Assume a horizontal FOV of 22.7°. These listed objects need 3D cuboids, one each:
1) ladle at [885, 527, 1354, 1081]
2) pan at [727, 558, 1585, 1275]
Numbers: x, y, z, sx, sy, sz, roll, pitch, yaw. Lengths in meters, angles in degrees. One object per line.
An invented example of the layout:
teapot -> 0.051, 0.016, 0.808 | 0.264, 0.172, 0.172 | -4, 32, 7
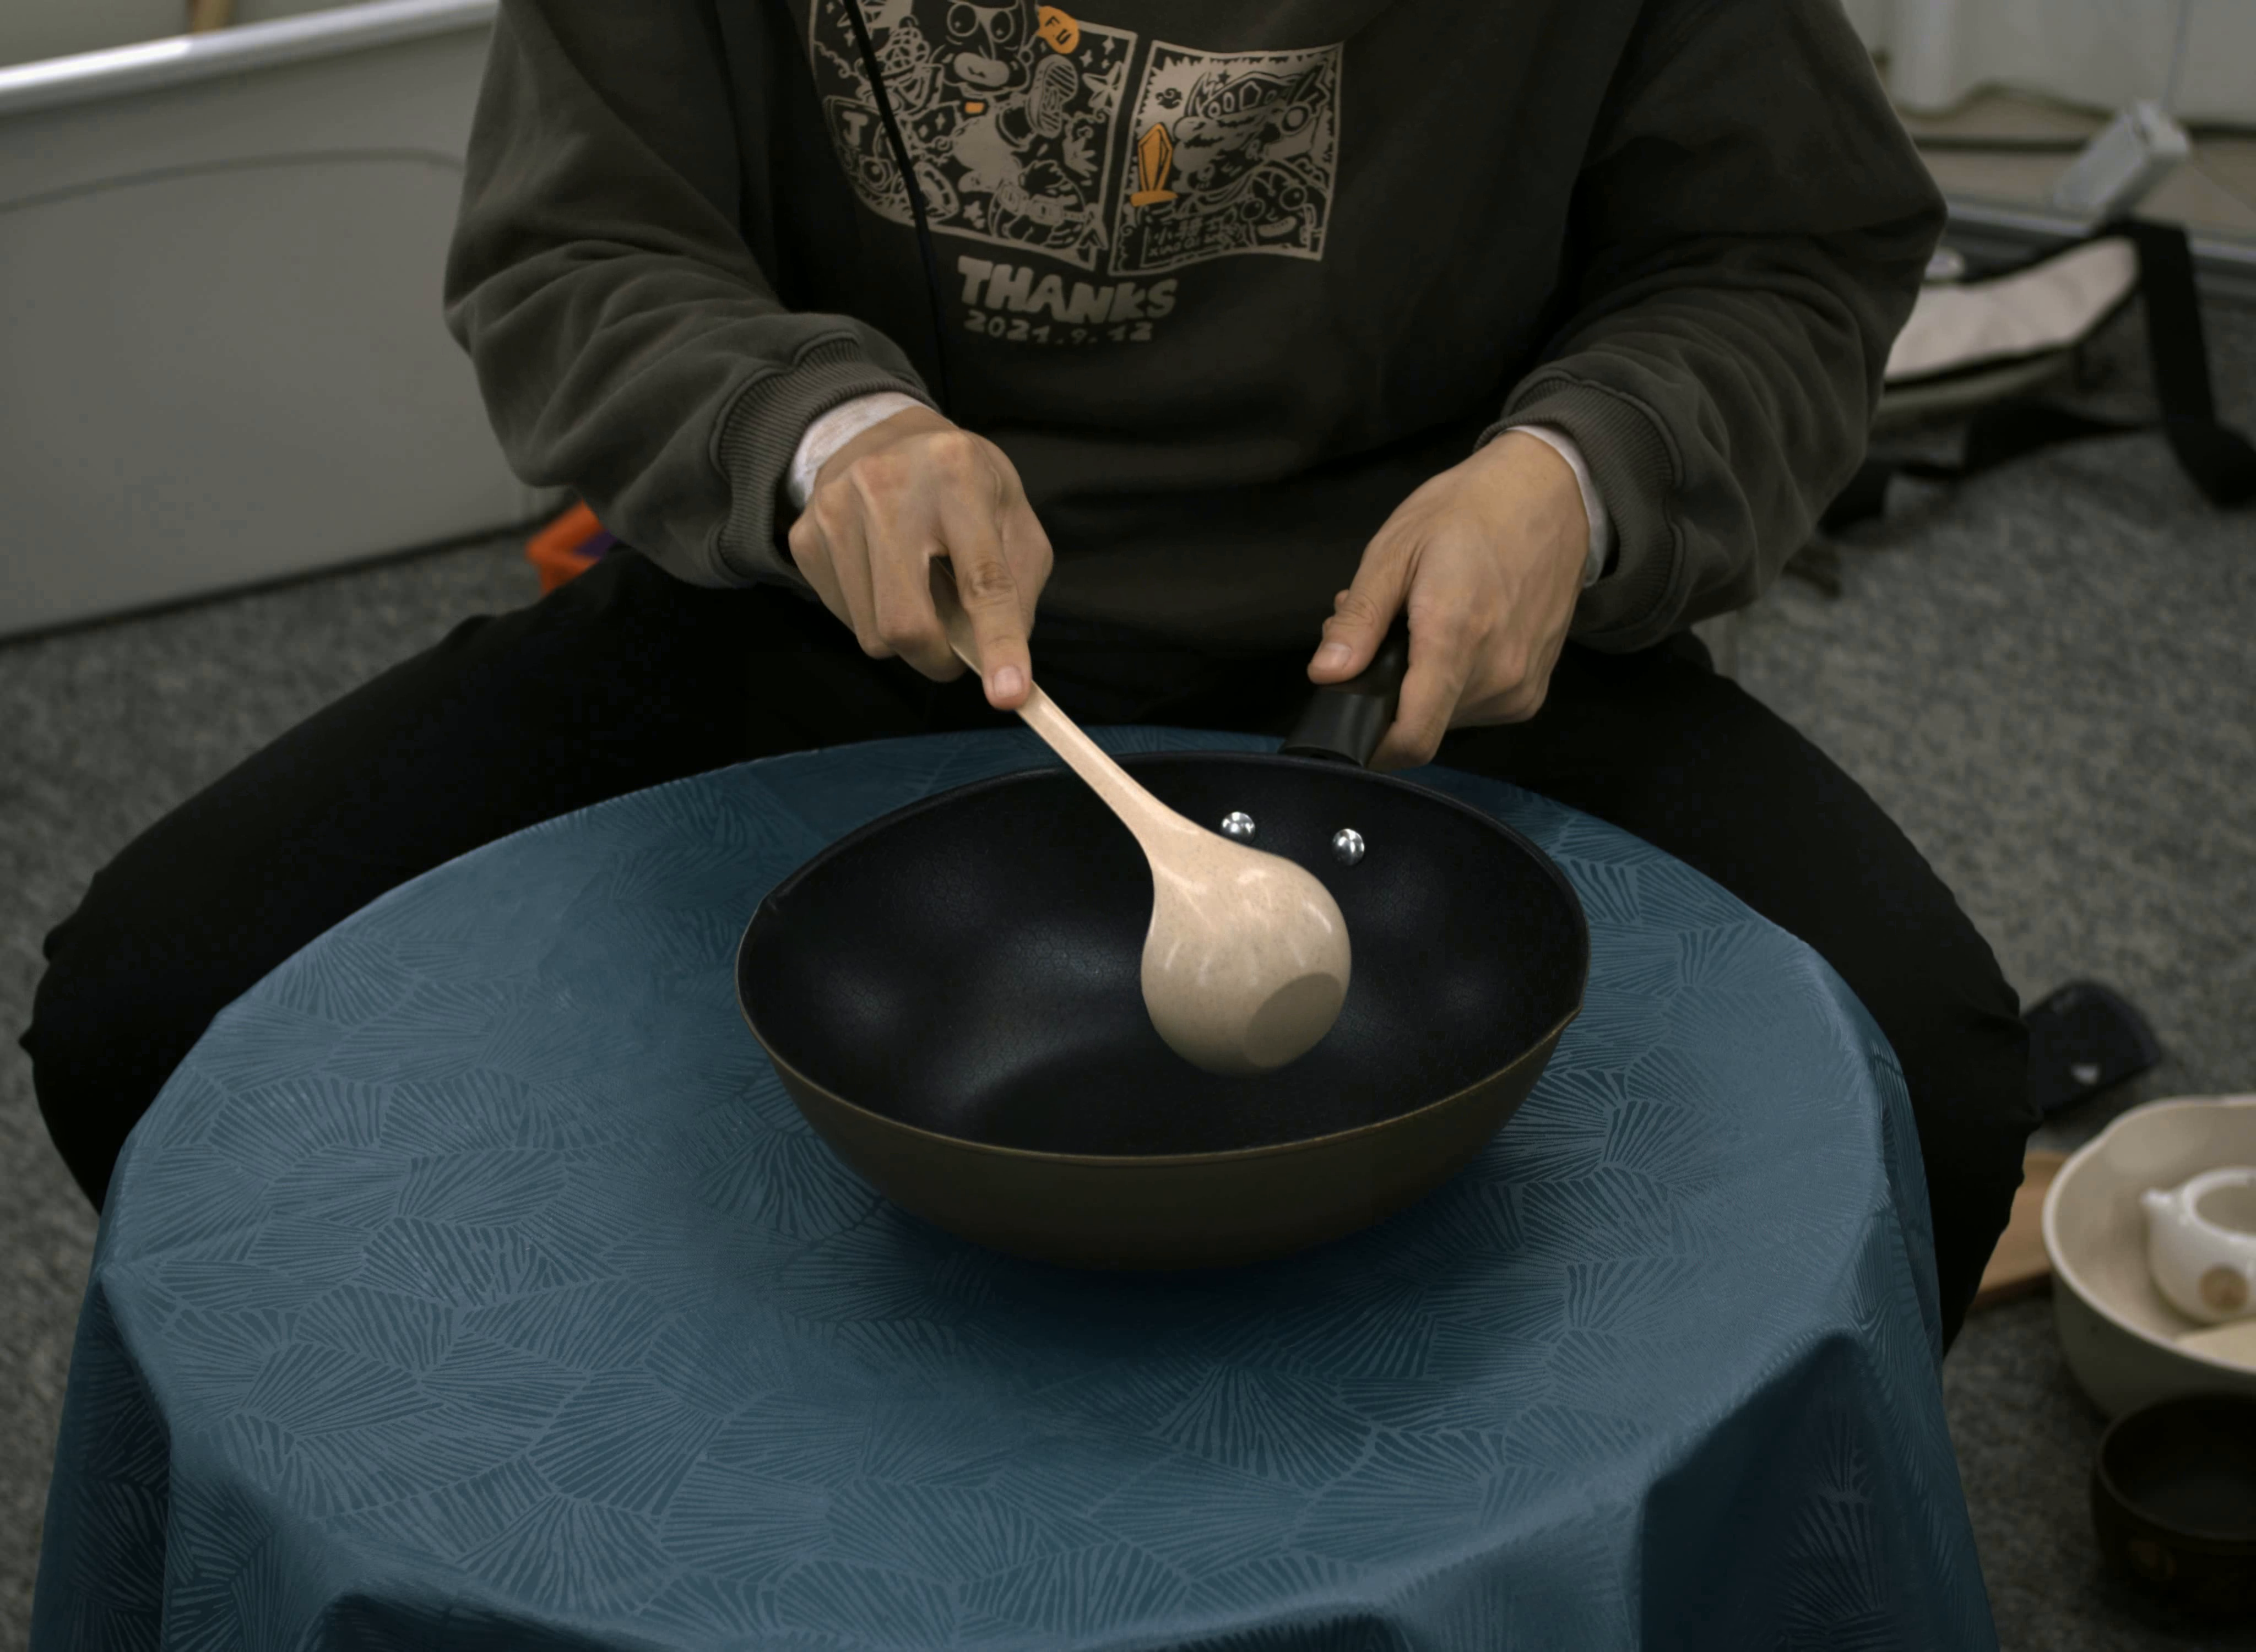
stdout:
ladle -> -0.010, -0.008, 1.886 | 0.072, 0.072, 0.256 | -31, 46, -11
pan -> 0.044, 0.032, 1.939 | 0.286, 0.086, 0.471 | 8, 28, 20
